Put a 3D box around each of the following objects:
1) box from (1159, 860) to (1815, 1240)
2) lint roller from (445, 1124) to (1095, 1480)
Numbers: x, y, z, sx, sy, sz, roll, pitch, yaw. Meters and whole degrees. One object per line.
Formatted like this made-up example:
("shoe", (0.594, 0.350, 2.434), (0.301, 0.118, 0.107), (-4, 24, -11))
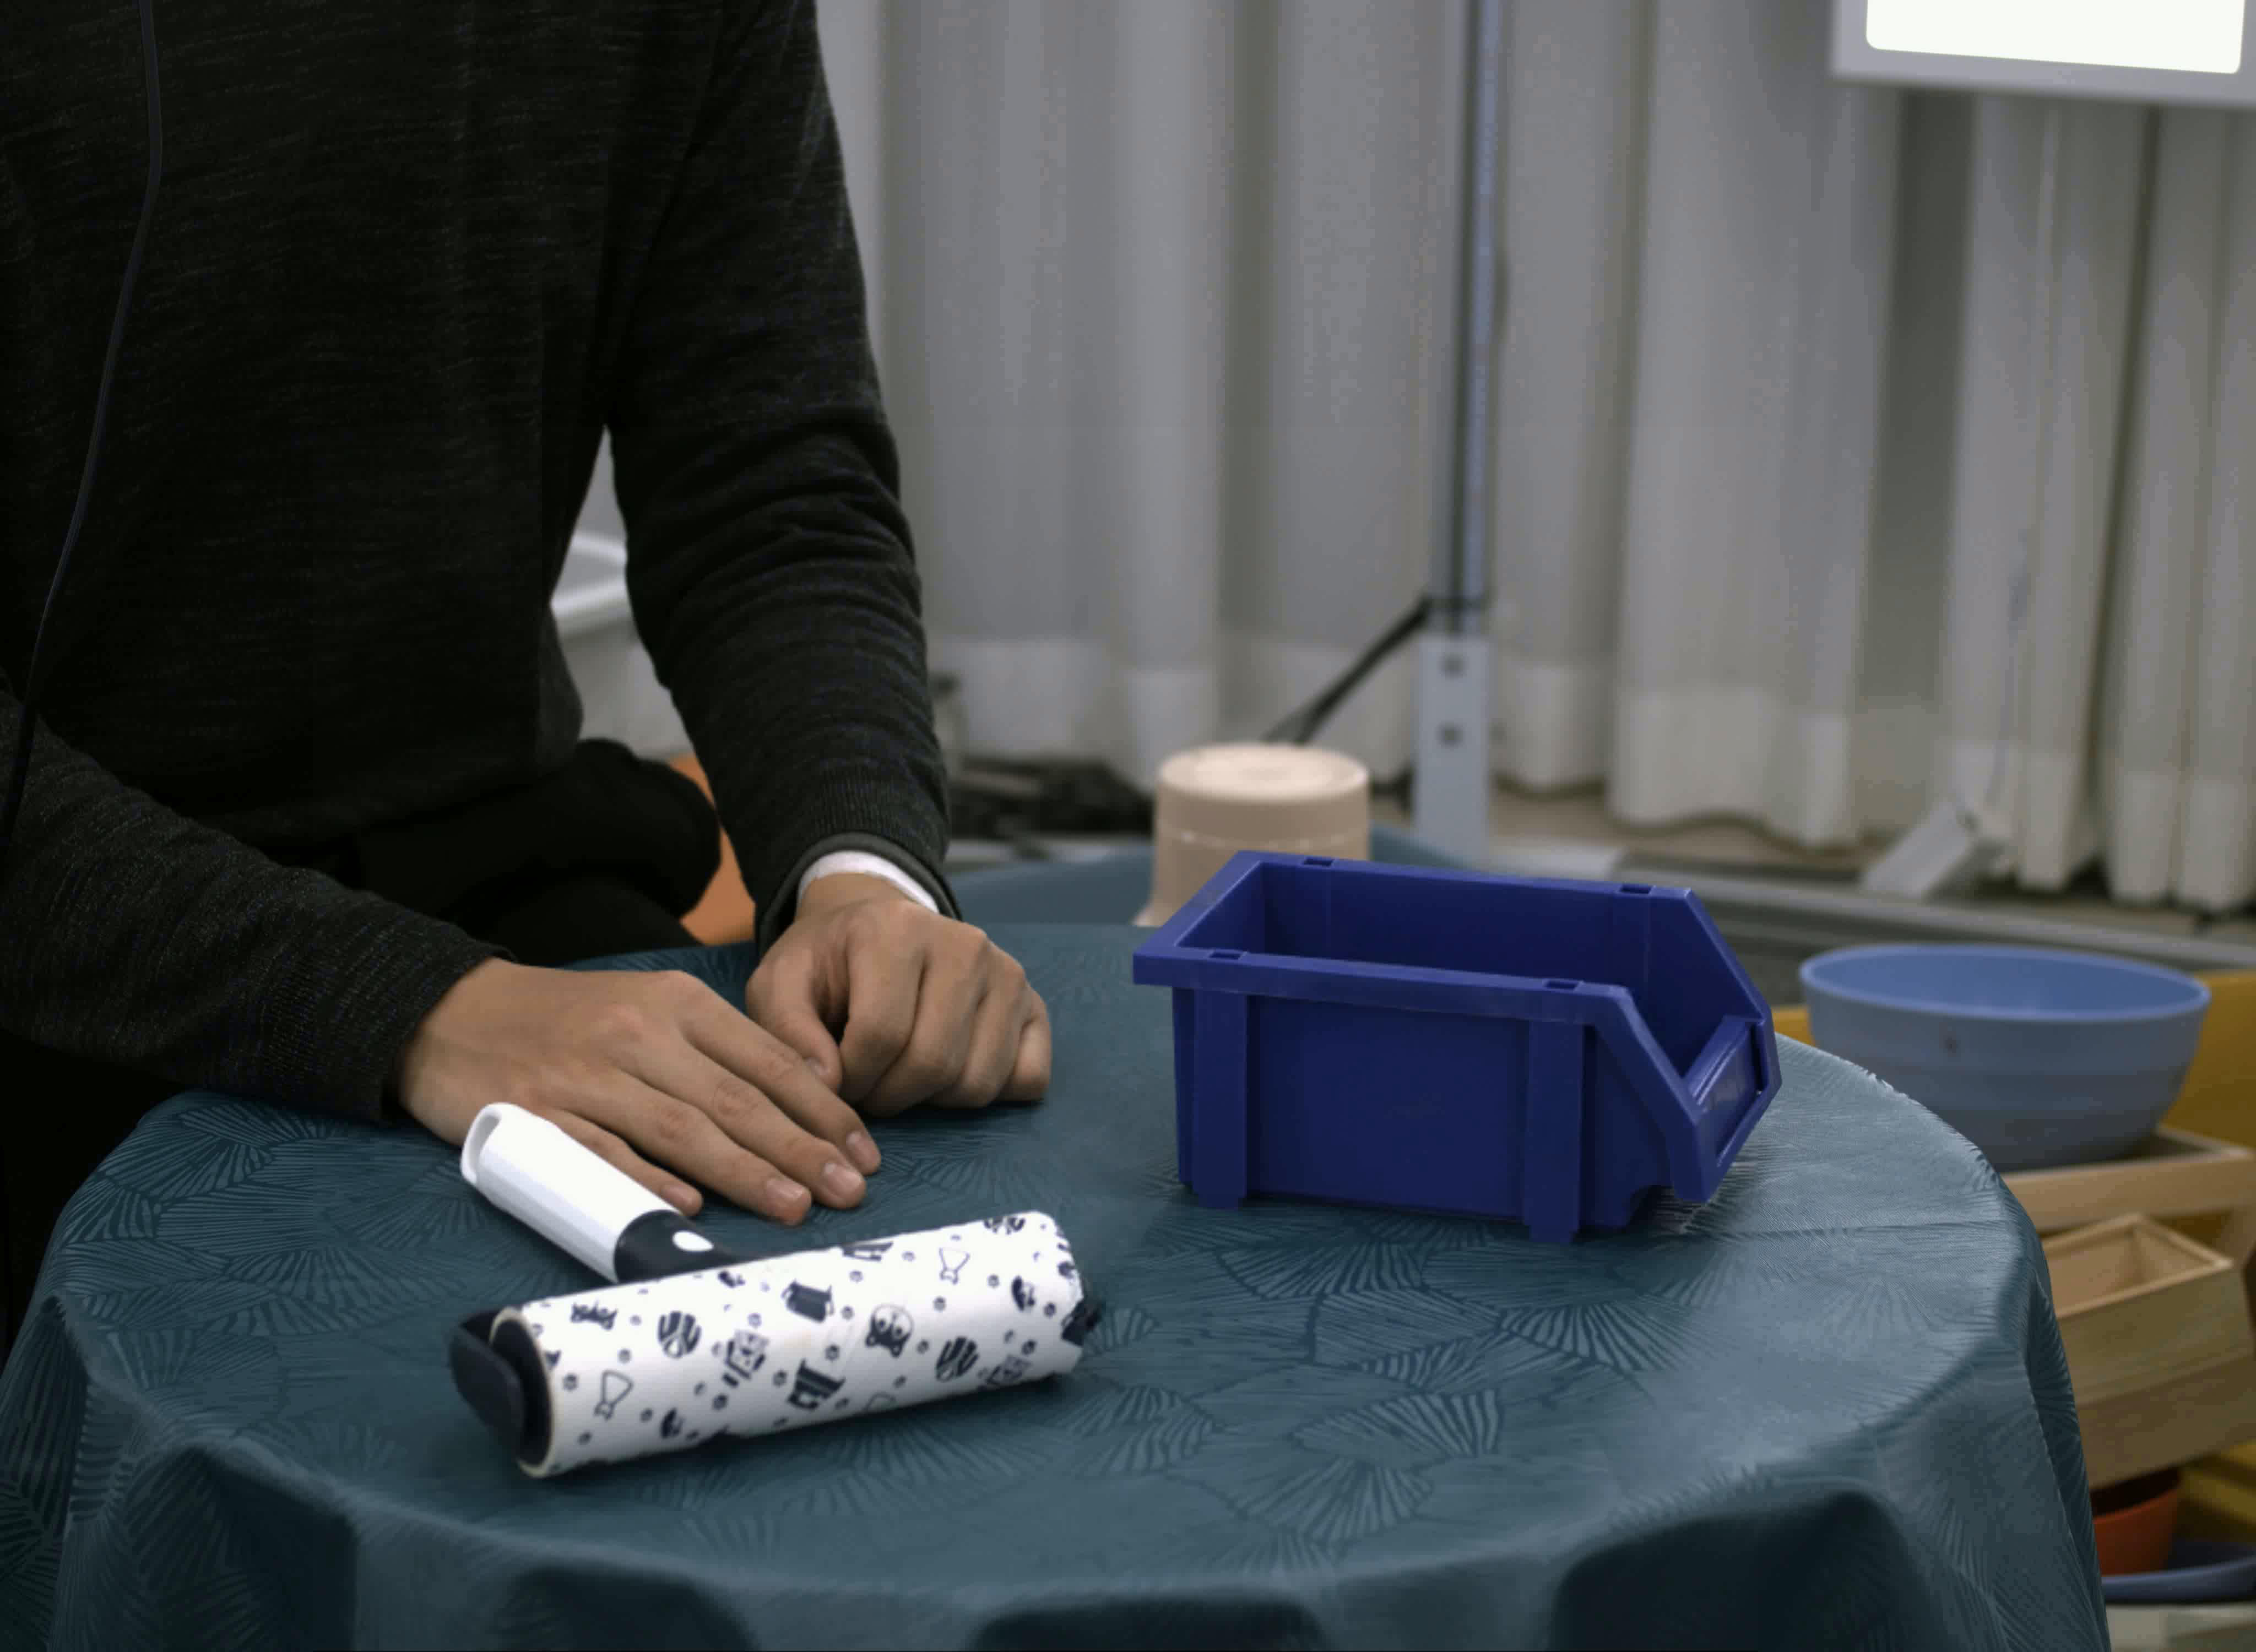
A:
("box", (0.114, 0.068, 1.632), (0.178, 0.082, 0.124), (3, 15, 17))
("lint roller", (-0.141, 0.119, 1.514), (0.177, 0.051, 0.244), (-9, 17, -28))
